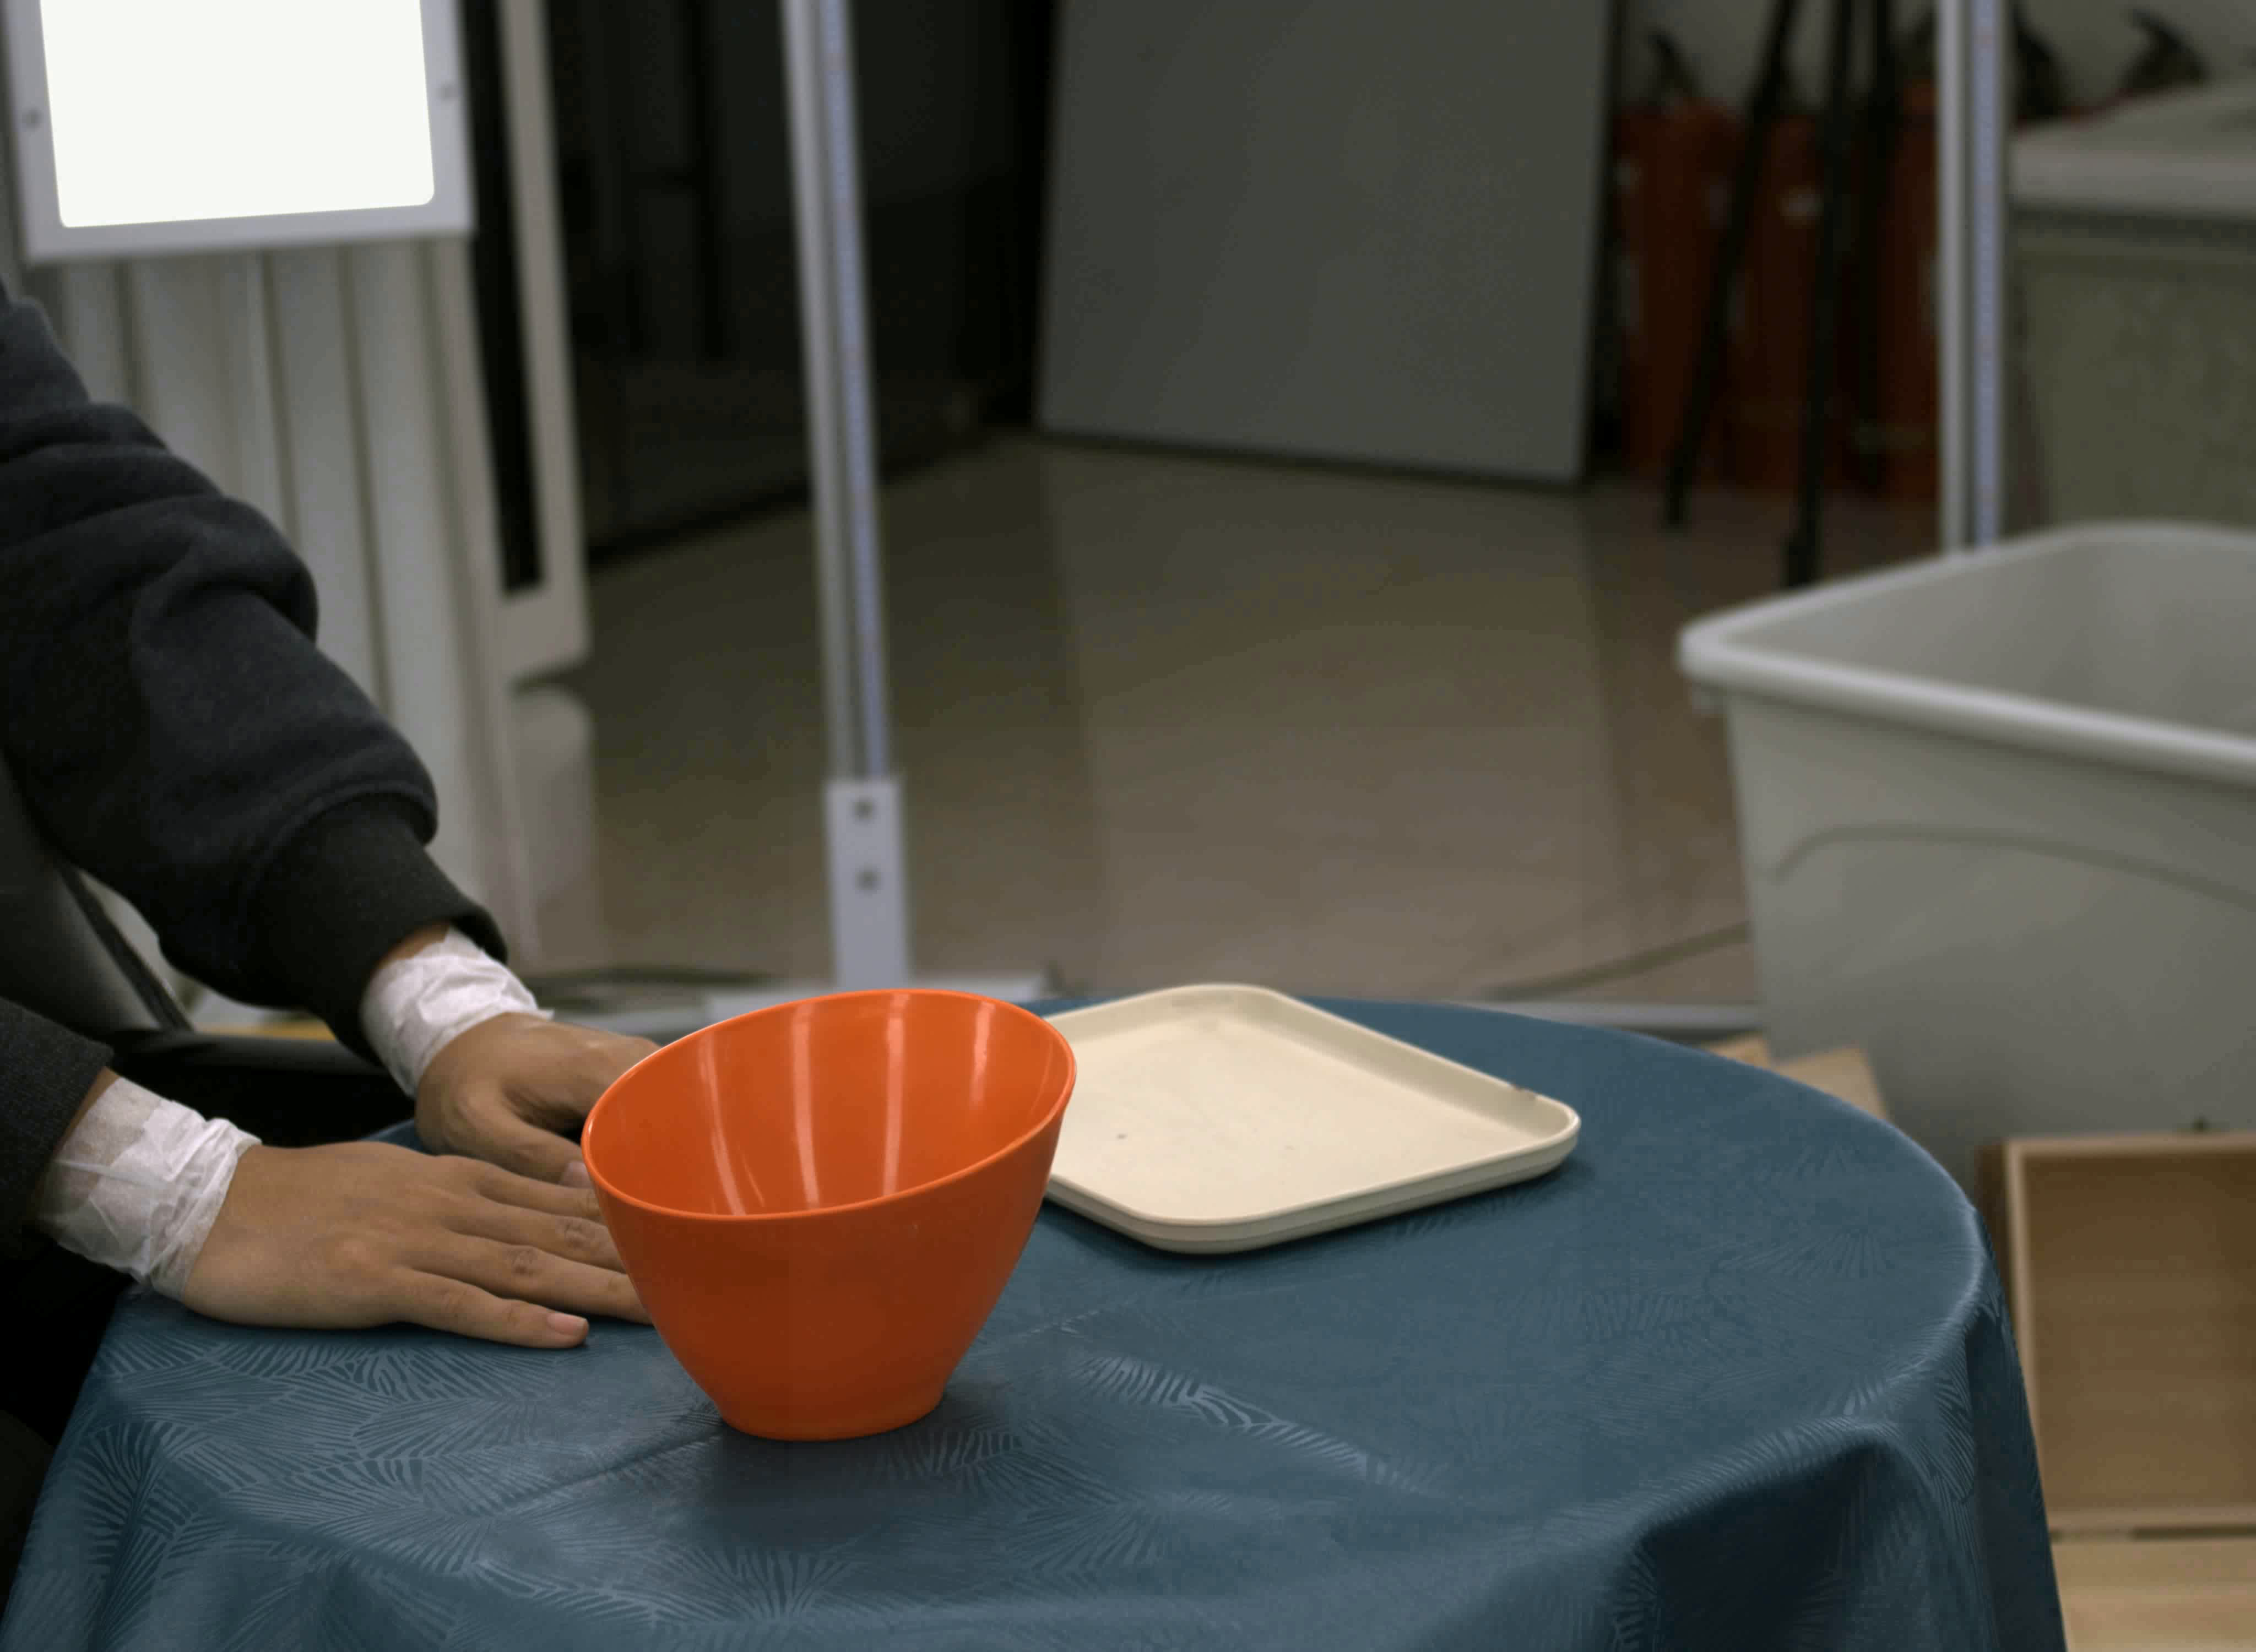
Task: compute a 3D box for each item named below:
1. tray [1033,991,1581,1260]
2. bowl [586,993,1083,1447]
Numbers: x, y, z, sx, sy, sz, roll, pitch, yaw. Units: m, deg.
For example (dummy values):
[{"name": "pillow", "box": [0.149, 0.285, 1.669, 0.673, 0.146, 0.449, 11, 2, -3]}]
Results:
[{"name": "tray", "box": [0.028, 0.099, 1.814, 0.167, 0.017, 0.242, -12, 16, -28]}, {"name": "bowl", "box": [-0.084, 0.119, 1.587, 0.146, 0.106, 0.148, -2, 13, 0]}]
